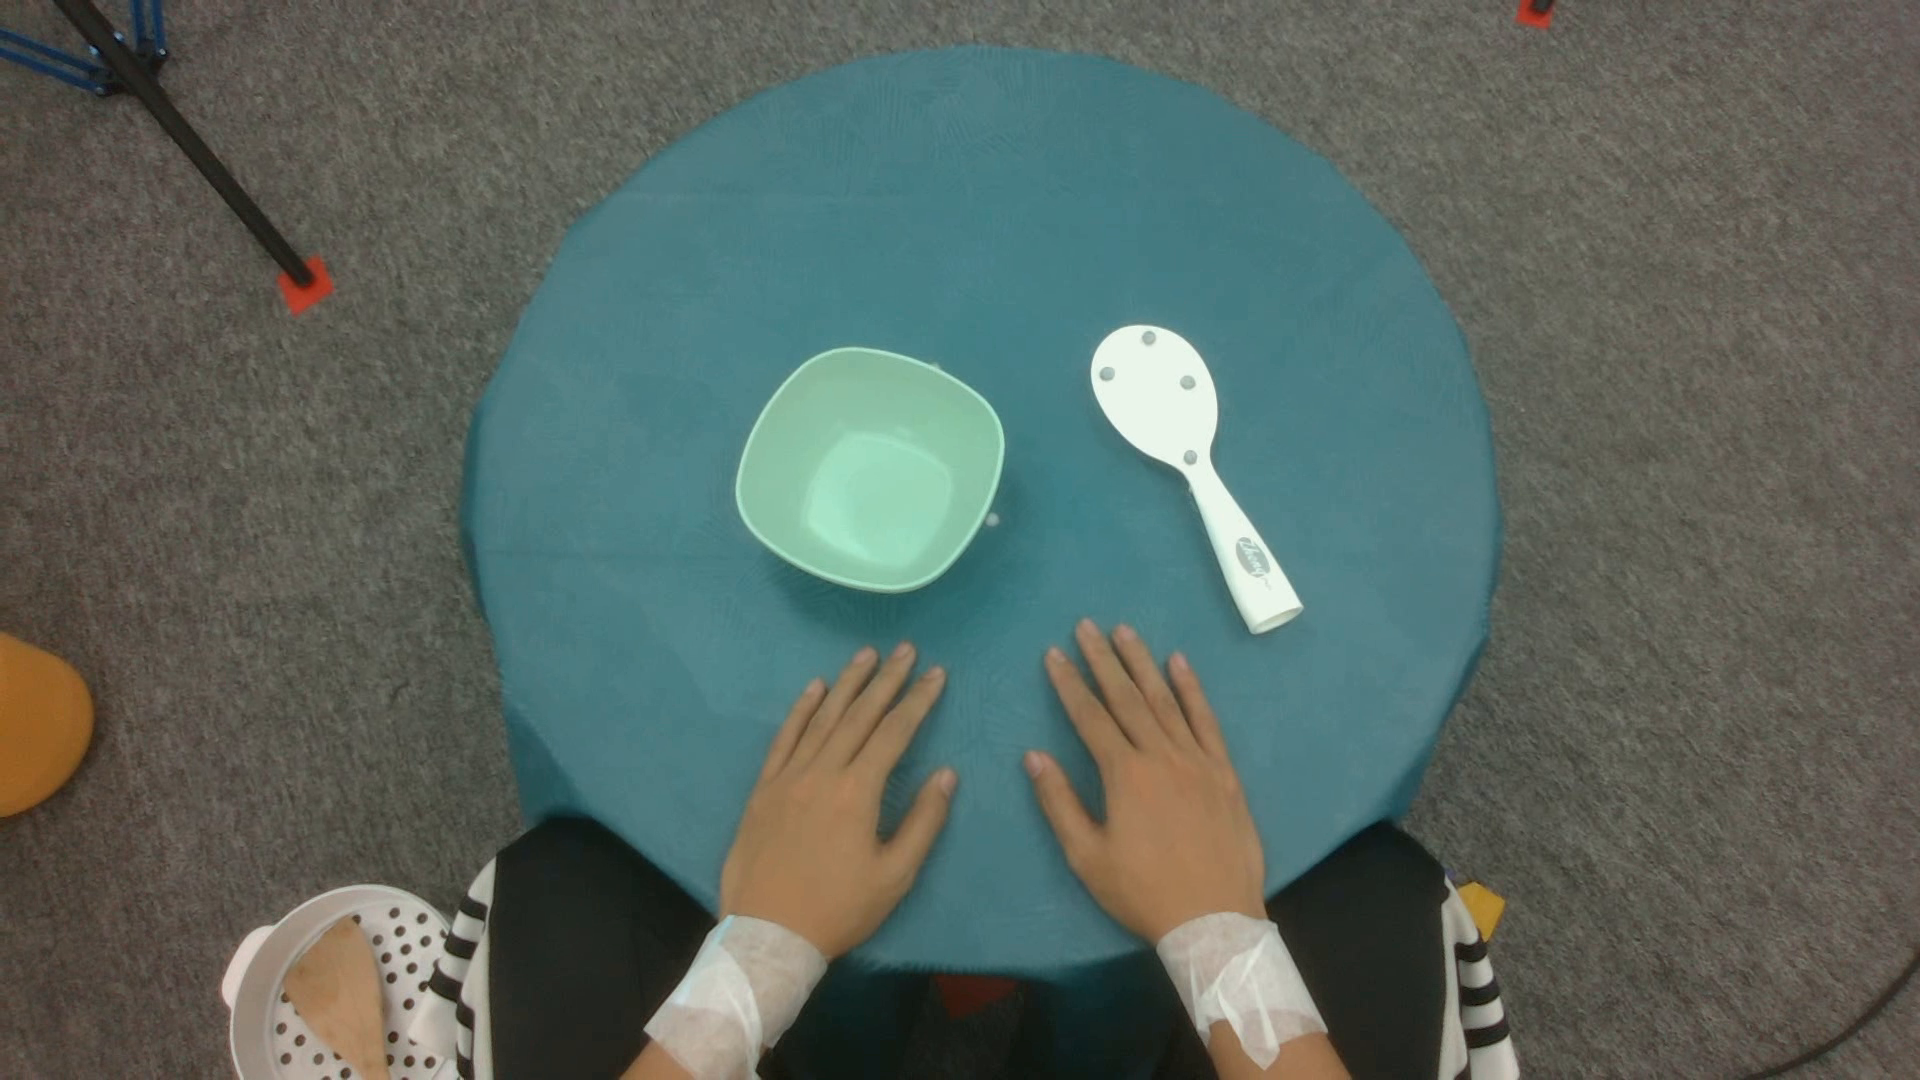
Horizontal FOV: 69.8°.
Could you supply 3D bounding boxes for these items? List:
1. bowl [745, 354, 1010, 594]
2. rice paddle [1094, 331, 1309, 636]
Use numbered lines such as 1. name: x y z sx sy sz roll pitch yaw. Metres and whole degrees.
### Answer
1. bowl: -0.045 -0.029 0.788 0.151 0.058 0.152 0 66 0
2. rice paddle: 0.140 -0.041 0.802 0.069 0.029 0.205 -21 69 -9
